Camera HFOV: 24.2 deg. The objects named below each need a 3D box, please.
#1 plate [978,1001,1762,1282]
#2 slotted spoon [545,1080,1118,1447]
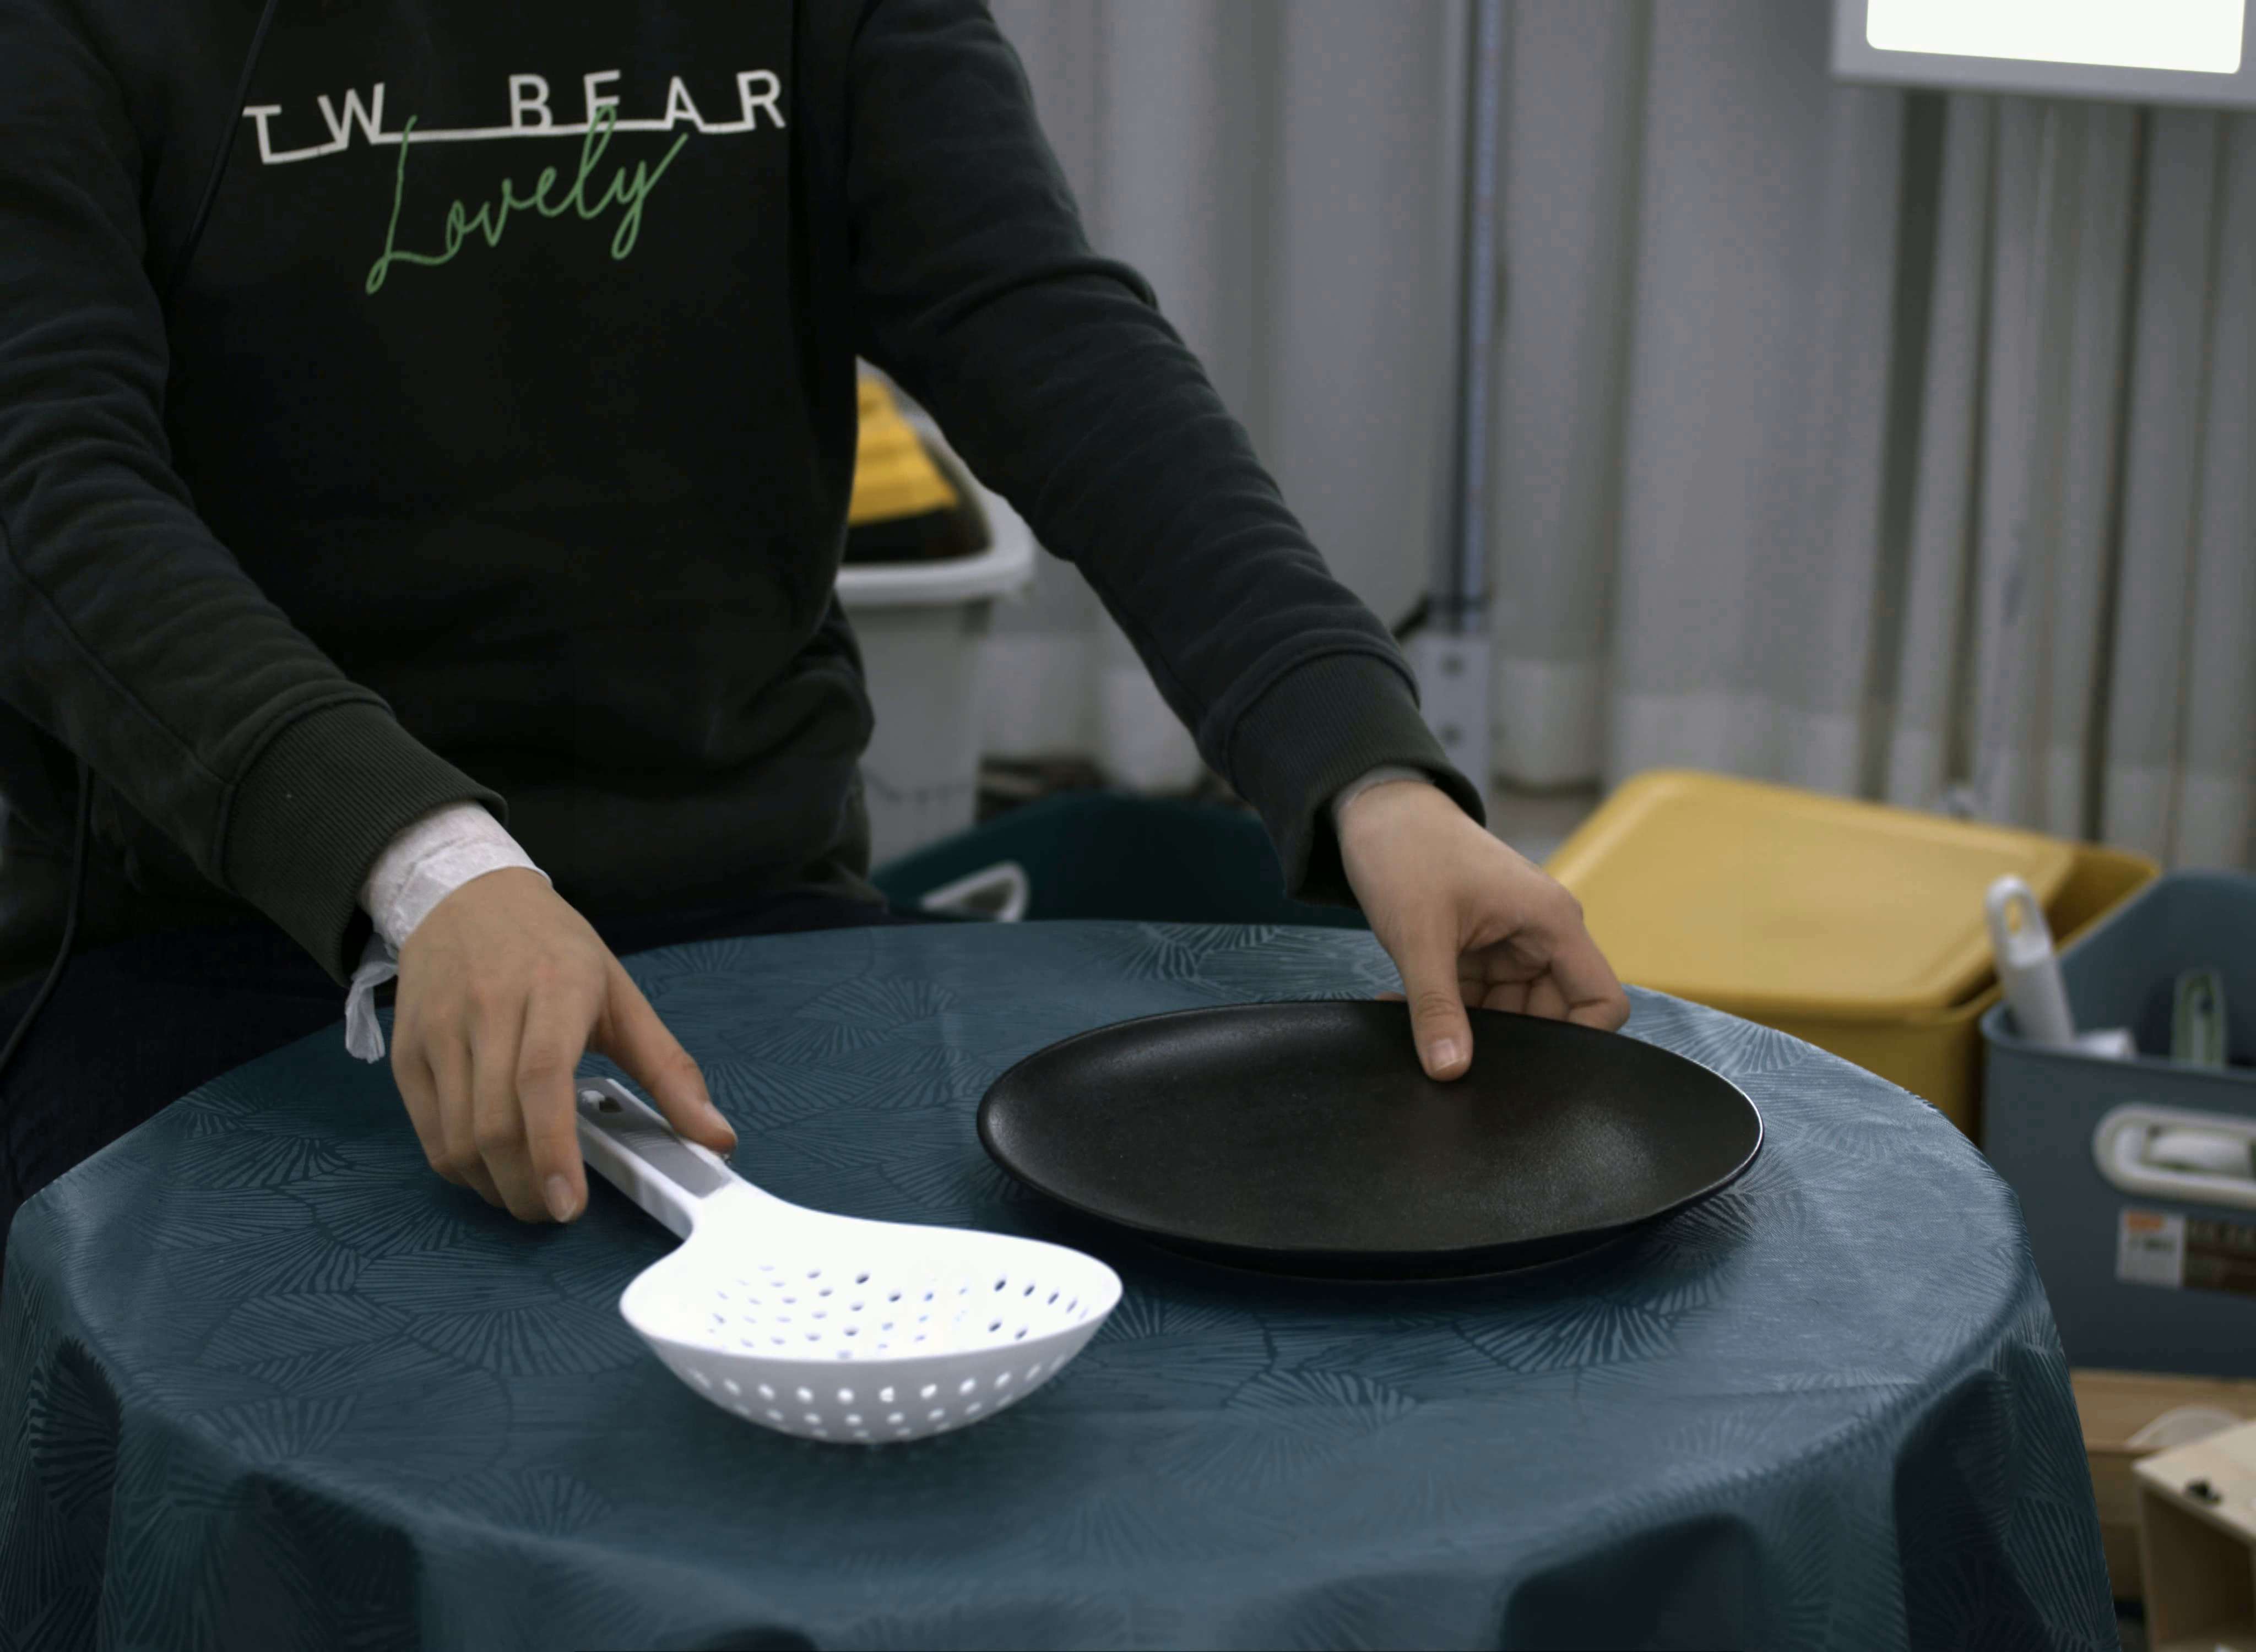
[{"bbox_3d":[0.074,0.100,1.632,0.243,0.023,0.243,1,16,0],"label":"plate"},{"bbox_3d":[-0.111,0.117,1.524,0.136,0.046,0.346,-4,16,-22],"label":"slotted spoon"}]
